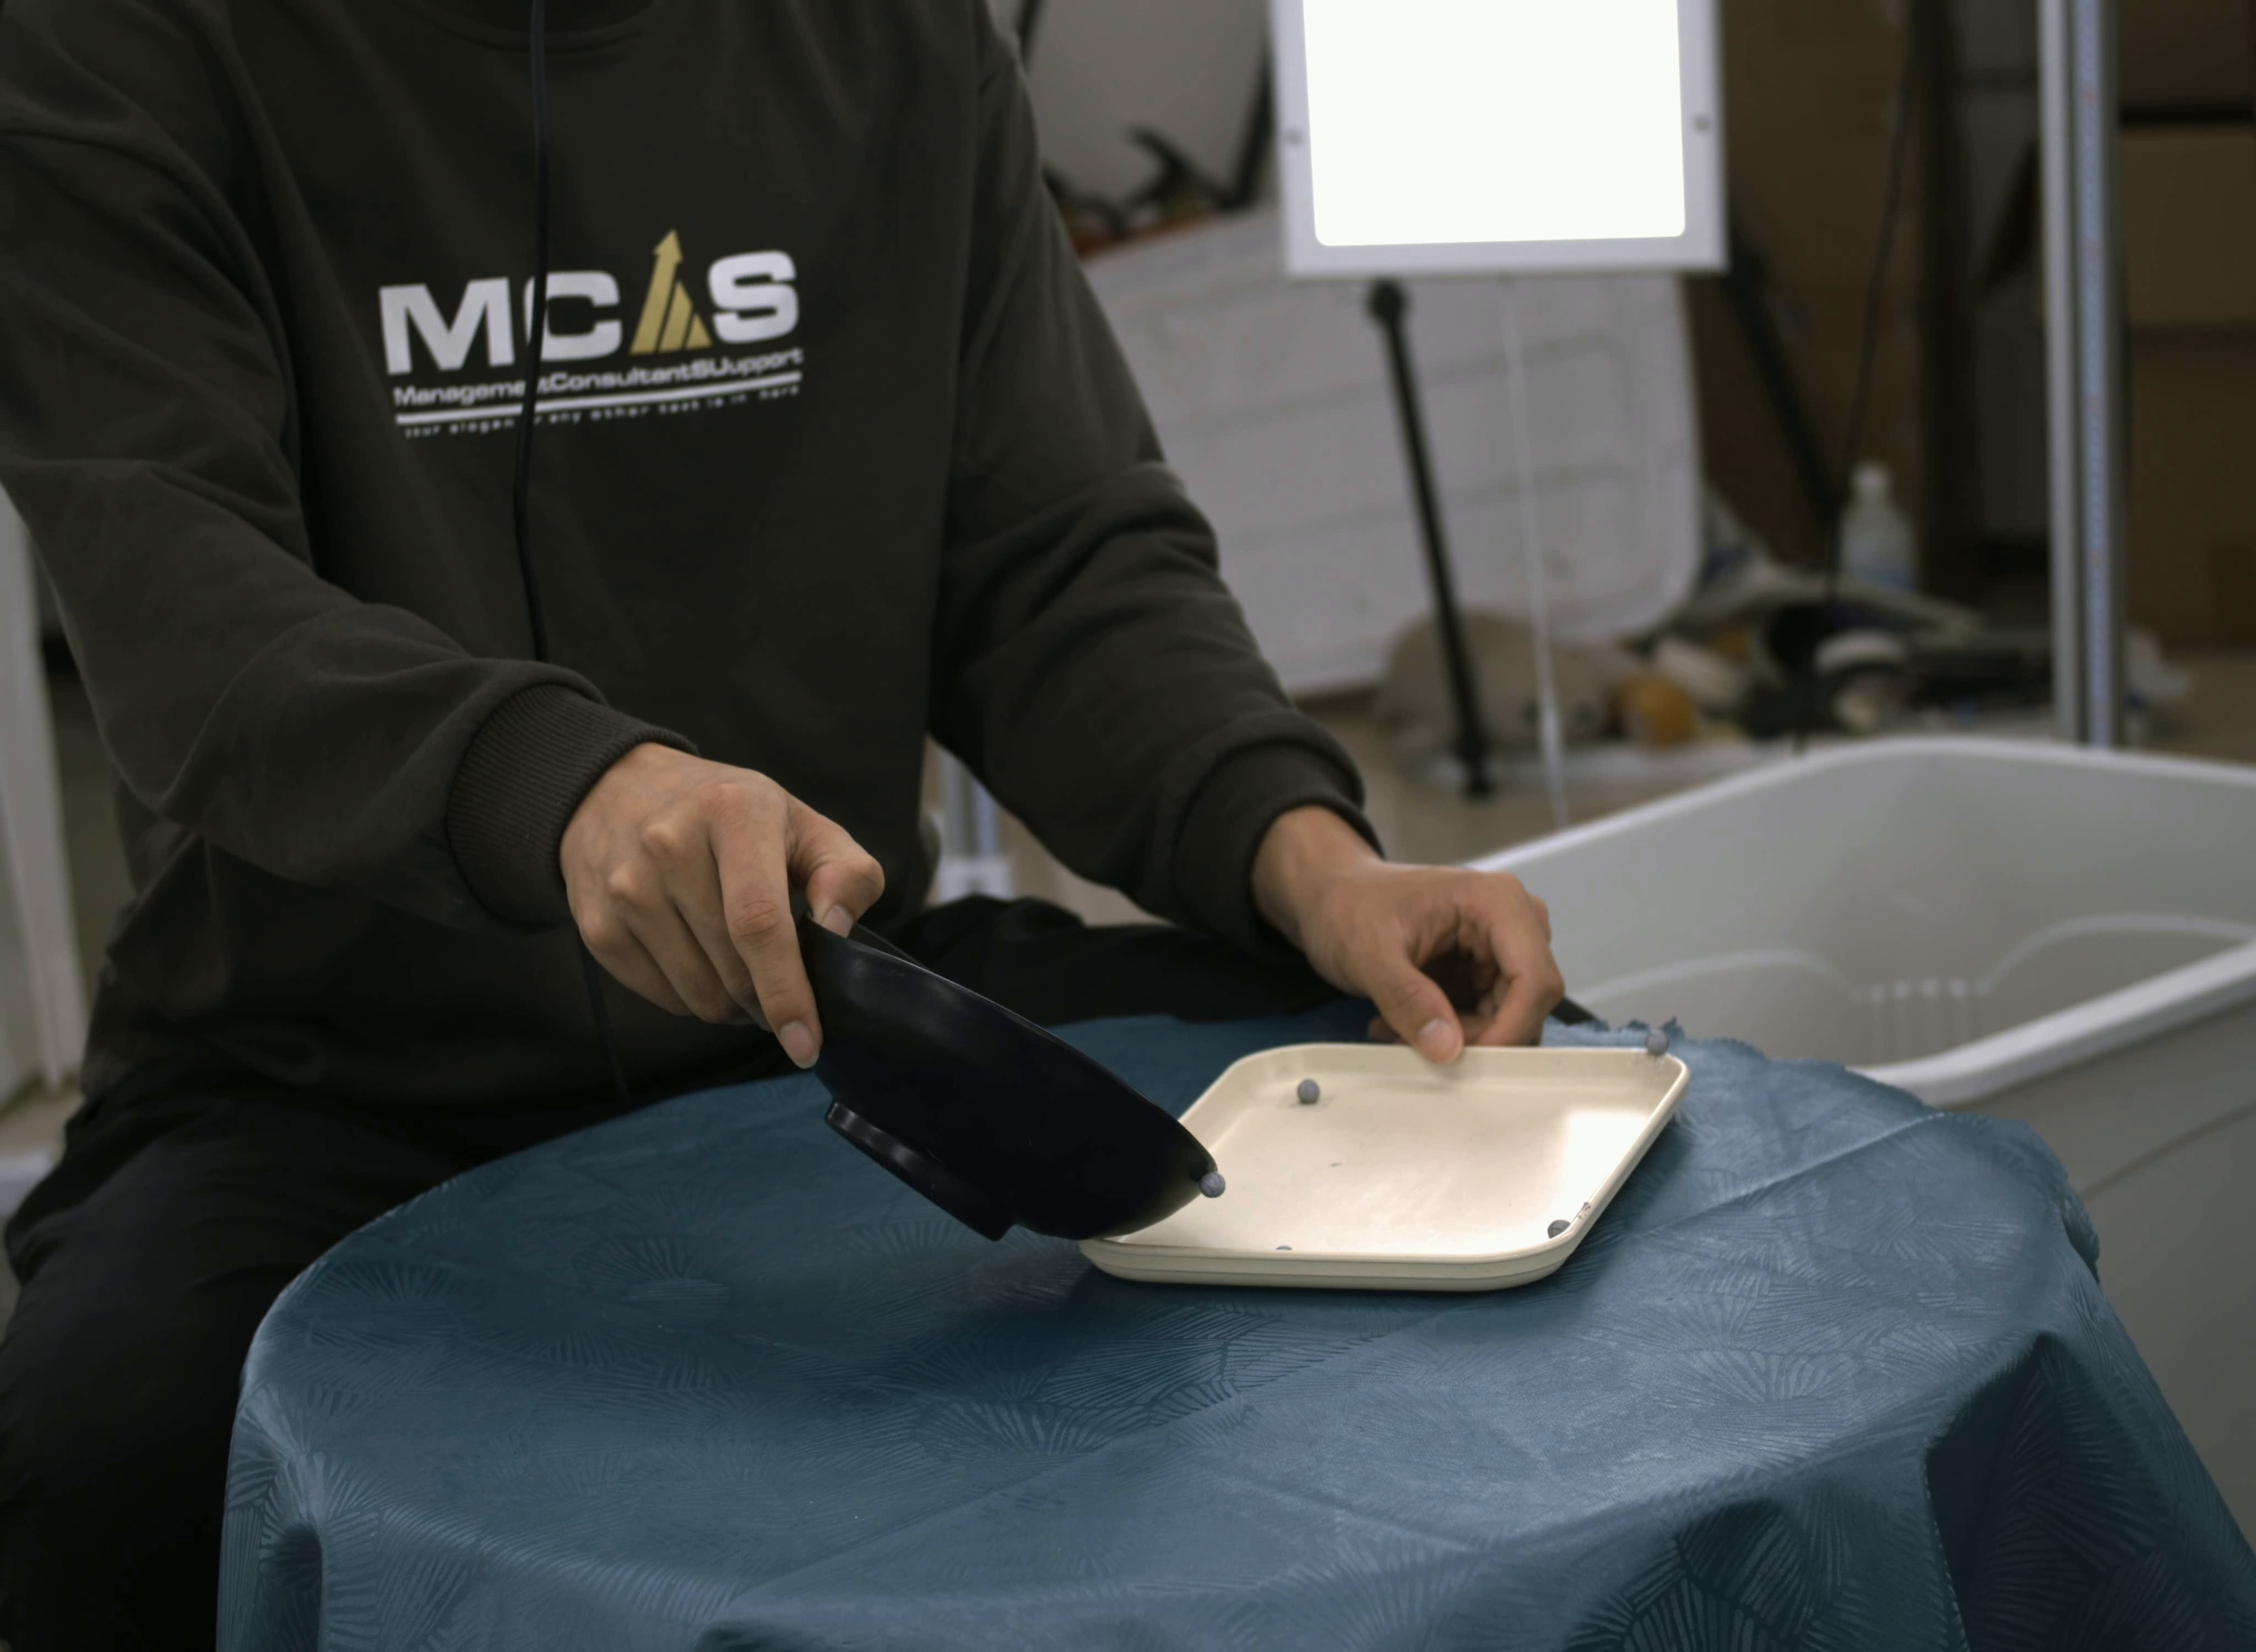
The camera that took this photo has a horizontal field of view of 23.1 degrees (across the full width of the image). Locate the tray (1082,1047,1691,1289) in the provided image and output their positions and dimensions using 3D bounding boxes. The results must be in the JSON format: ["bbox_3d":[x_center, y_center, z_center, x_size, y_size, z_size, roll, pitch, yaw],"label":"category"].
[{"bbox_3d":[0.092,0.116,1.875,0.173,0.017,0.236,-1,14,19],"label":"tray"}]

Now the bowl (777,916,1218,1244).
[{"bbox_3d":[-0.051,0.091,1.778,0.167,0.066,0.140,36,-6,-33],"label":"bowl"}]
